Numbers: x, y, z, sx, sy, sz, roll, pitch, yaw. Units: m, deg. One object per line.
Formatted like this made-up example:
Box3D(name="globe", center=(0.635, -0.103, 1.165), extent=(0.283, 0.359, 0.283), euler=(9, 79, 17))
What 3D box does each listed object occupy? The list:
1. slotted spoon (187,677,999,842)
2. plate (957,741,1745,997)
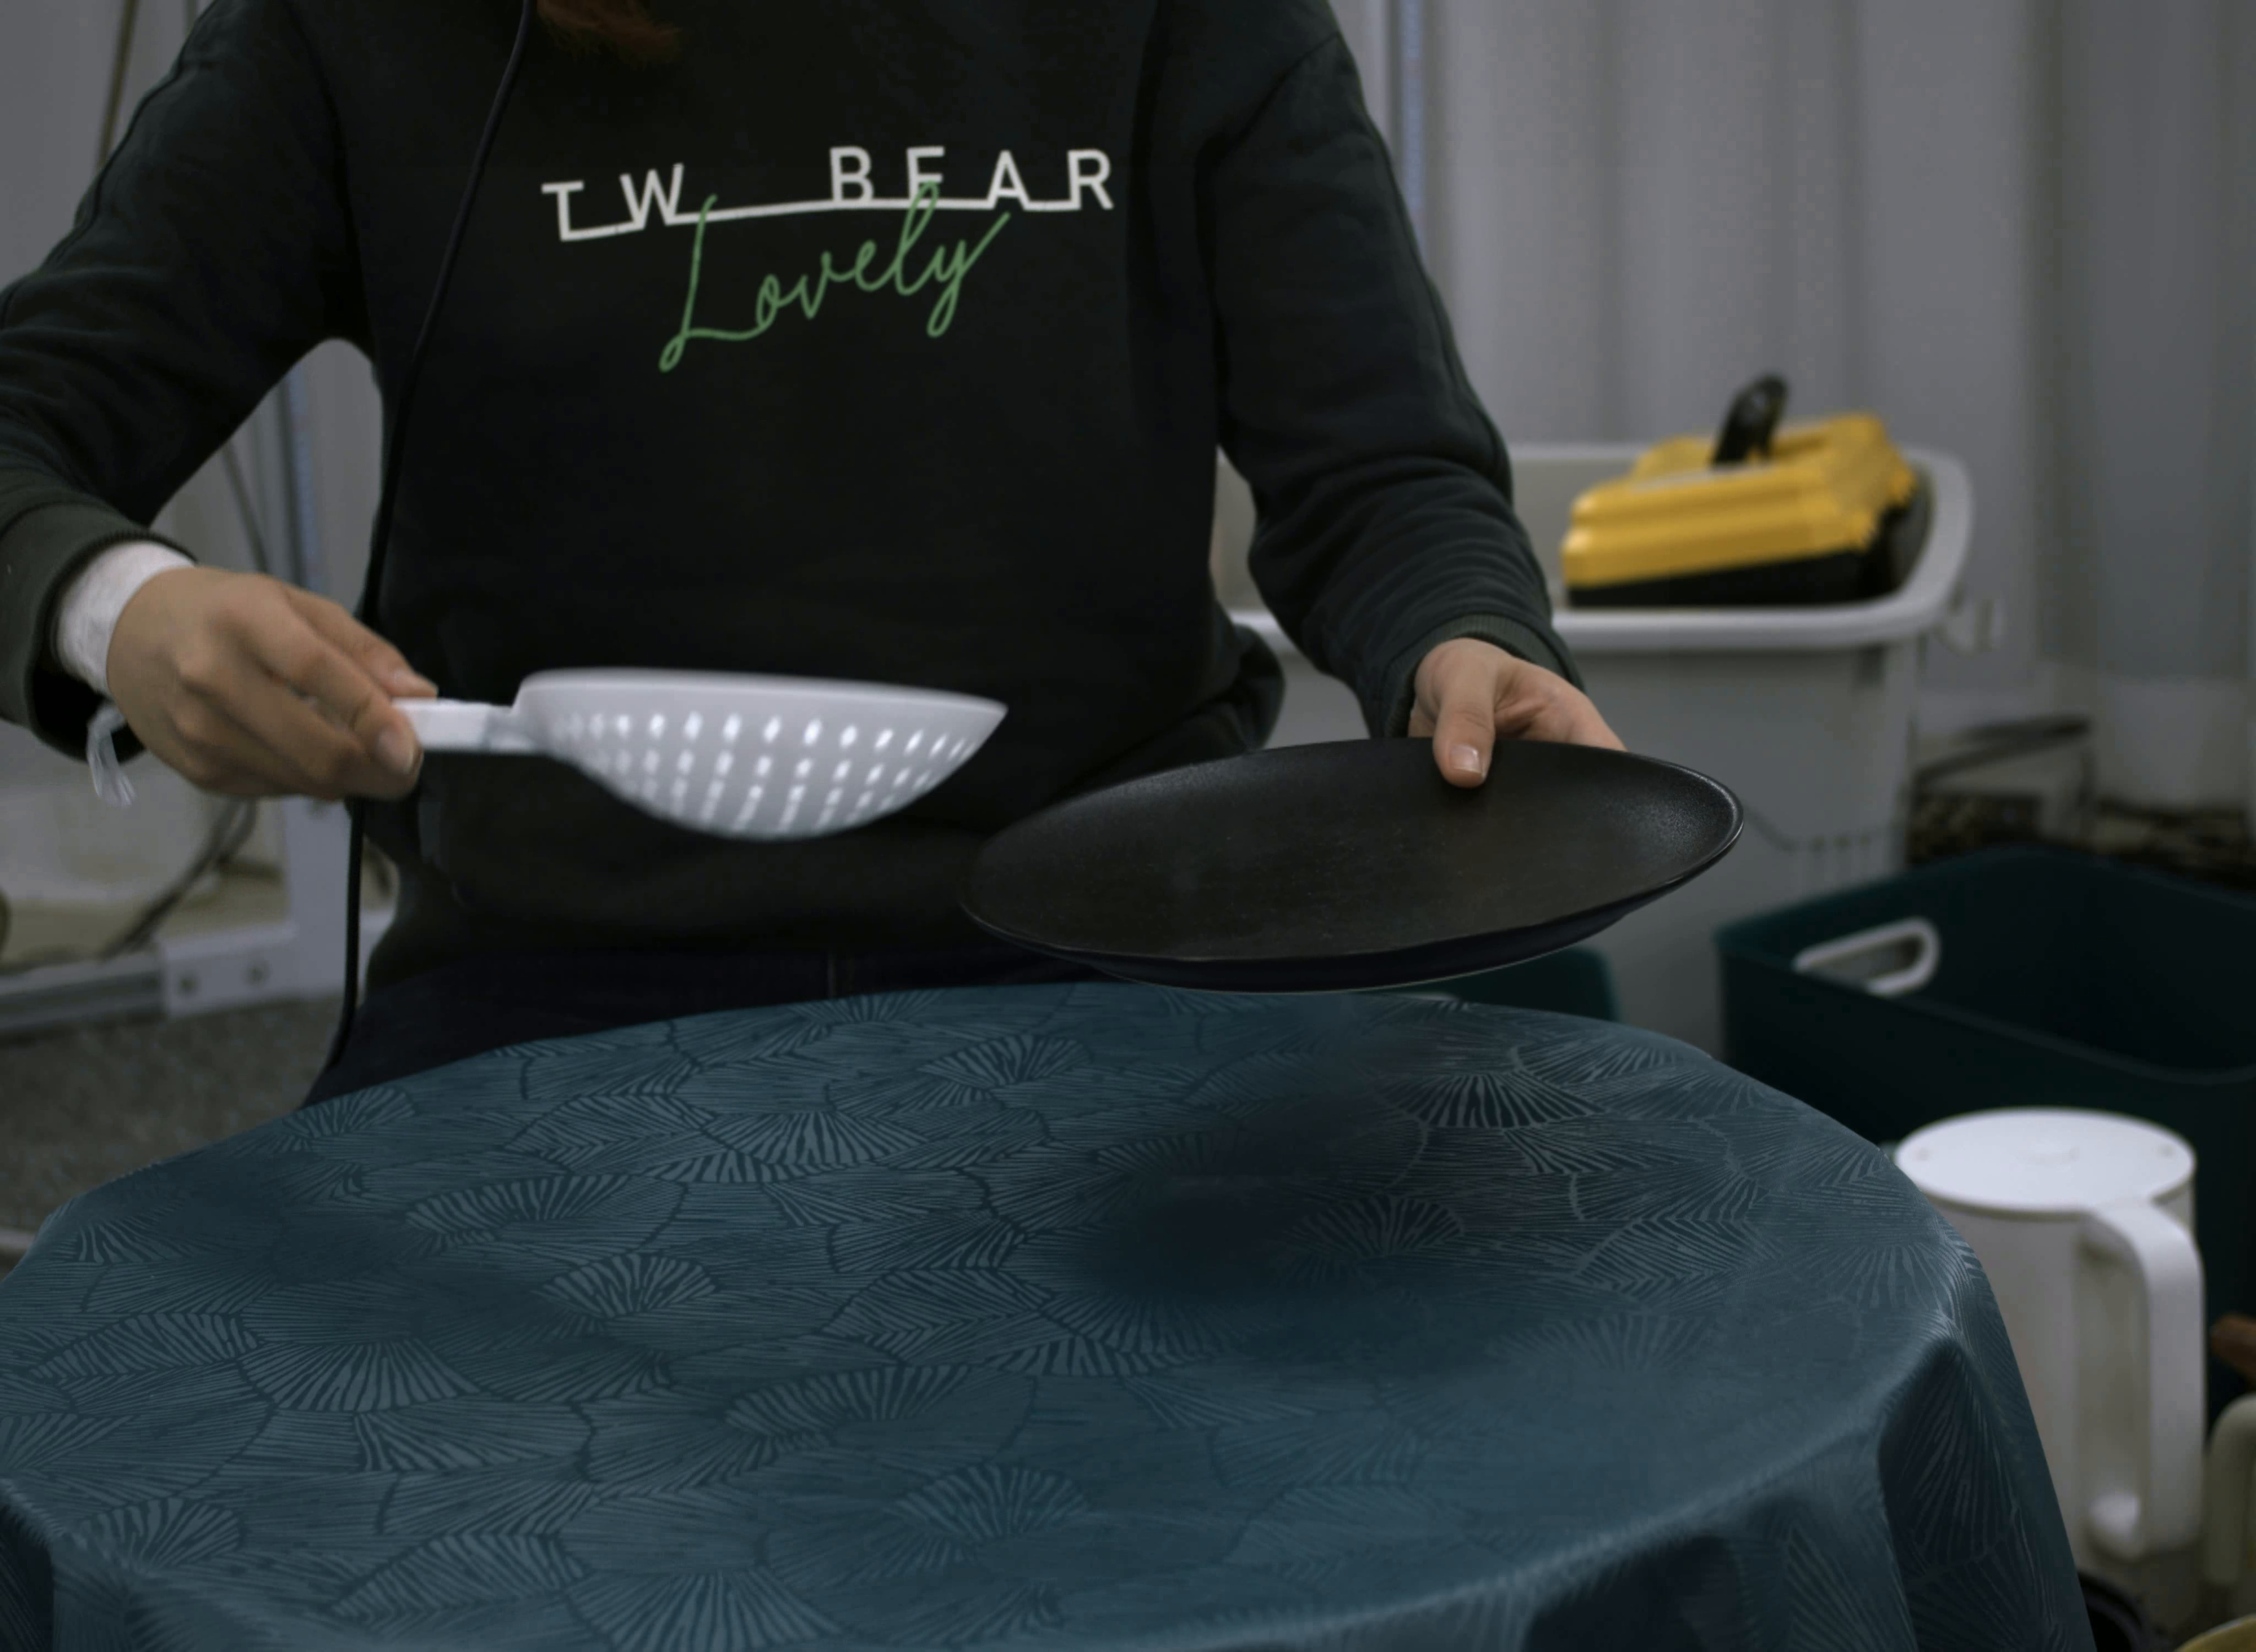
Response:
Box3D(name="slotted spoon", center=(-0.177, -0.029, 1.629), extent=(0.135, 0.046, 0.351), euler=(5, 2, -42))
Box3D(name="plate", center=(0.069, 0.014, 1.683), extent=(0.243, 0.023, 0.246), euler=(-5, 15, 1))
